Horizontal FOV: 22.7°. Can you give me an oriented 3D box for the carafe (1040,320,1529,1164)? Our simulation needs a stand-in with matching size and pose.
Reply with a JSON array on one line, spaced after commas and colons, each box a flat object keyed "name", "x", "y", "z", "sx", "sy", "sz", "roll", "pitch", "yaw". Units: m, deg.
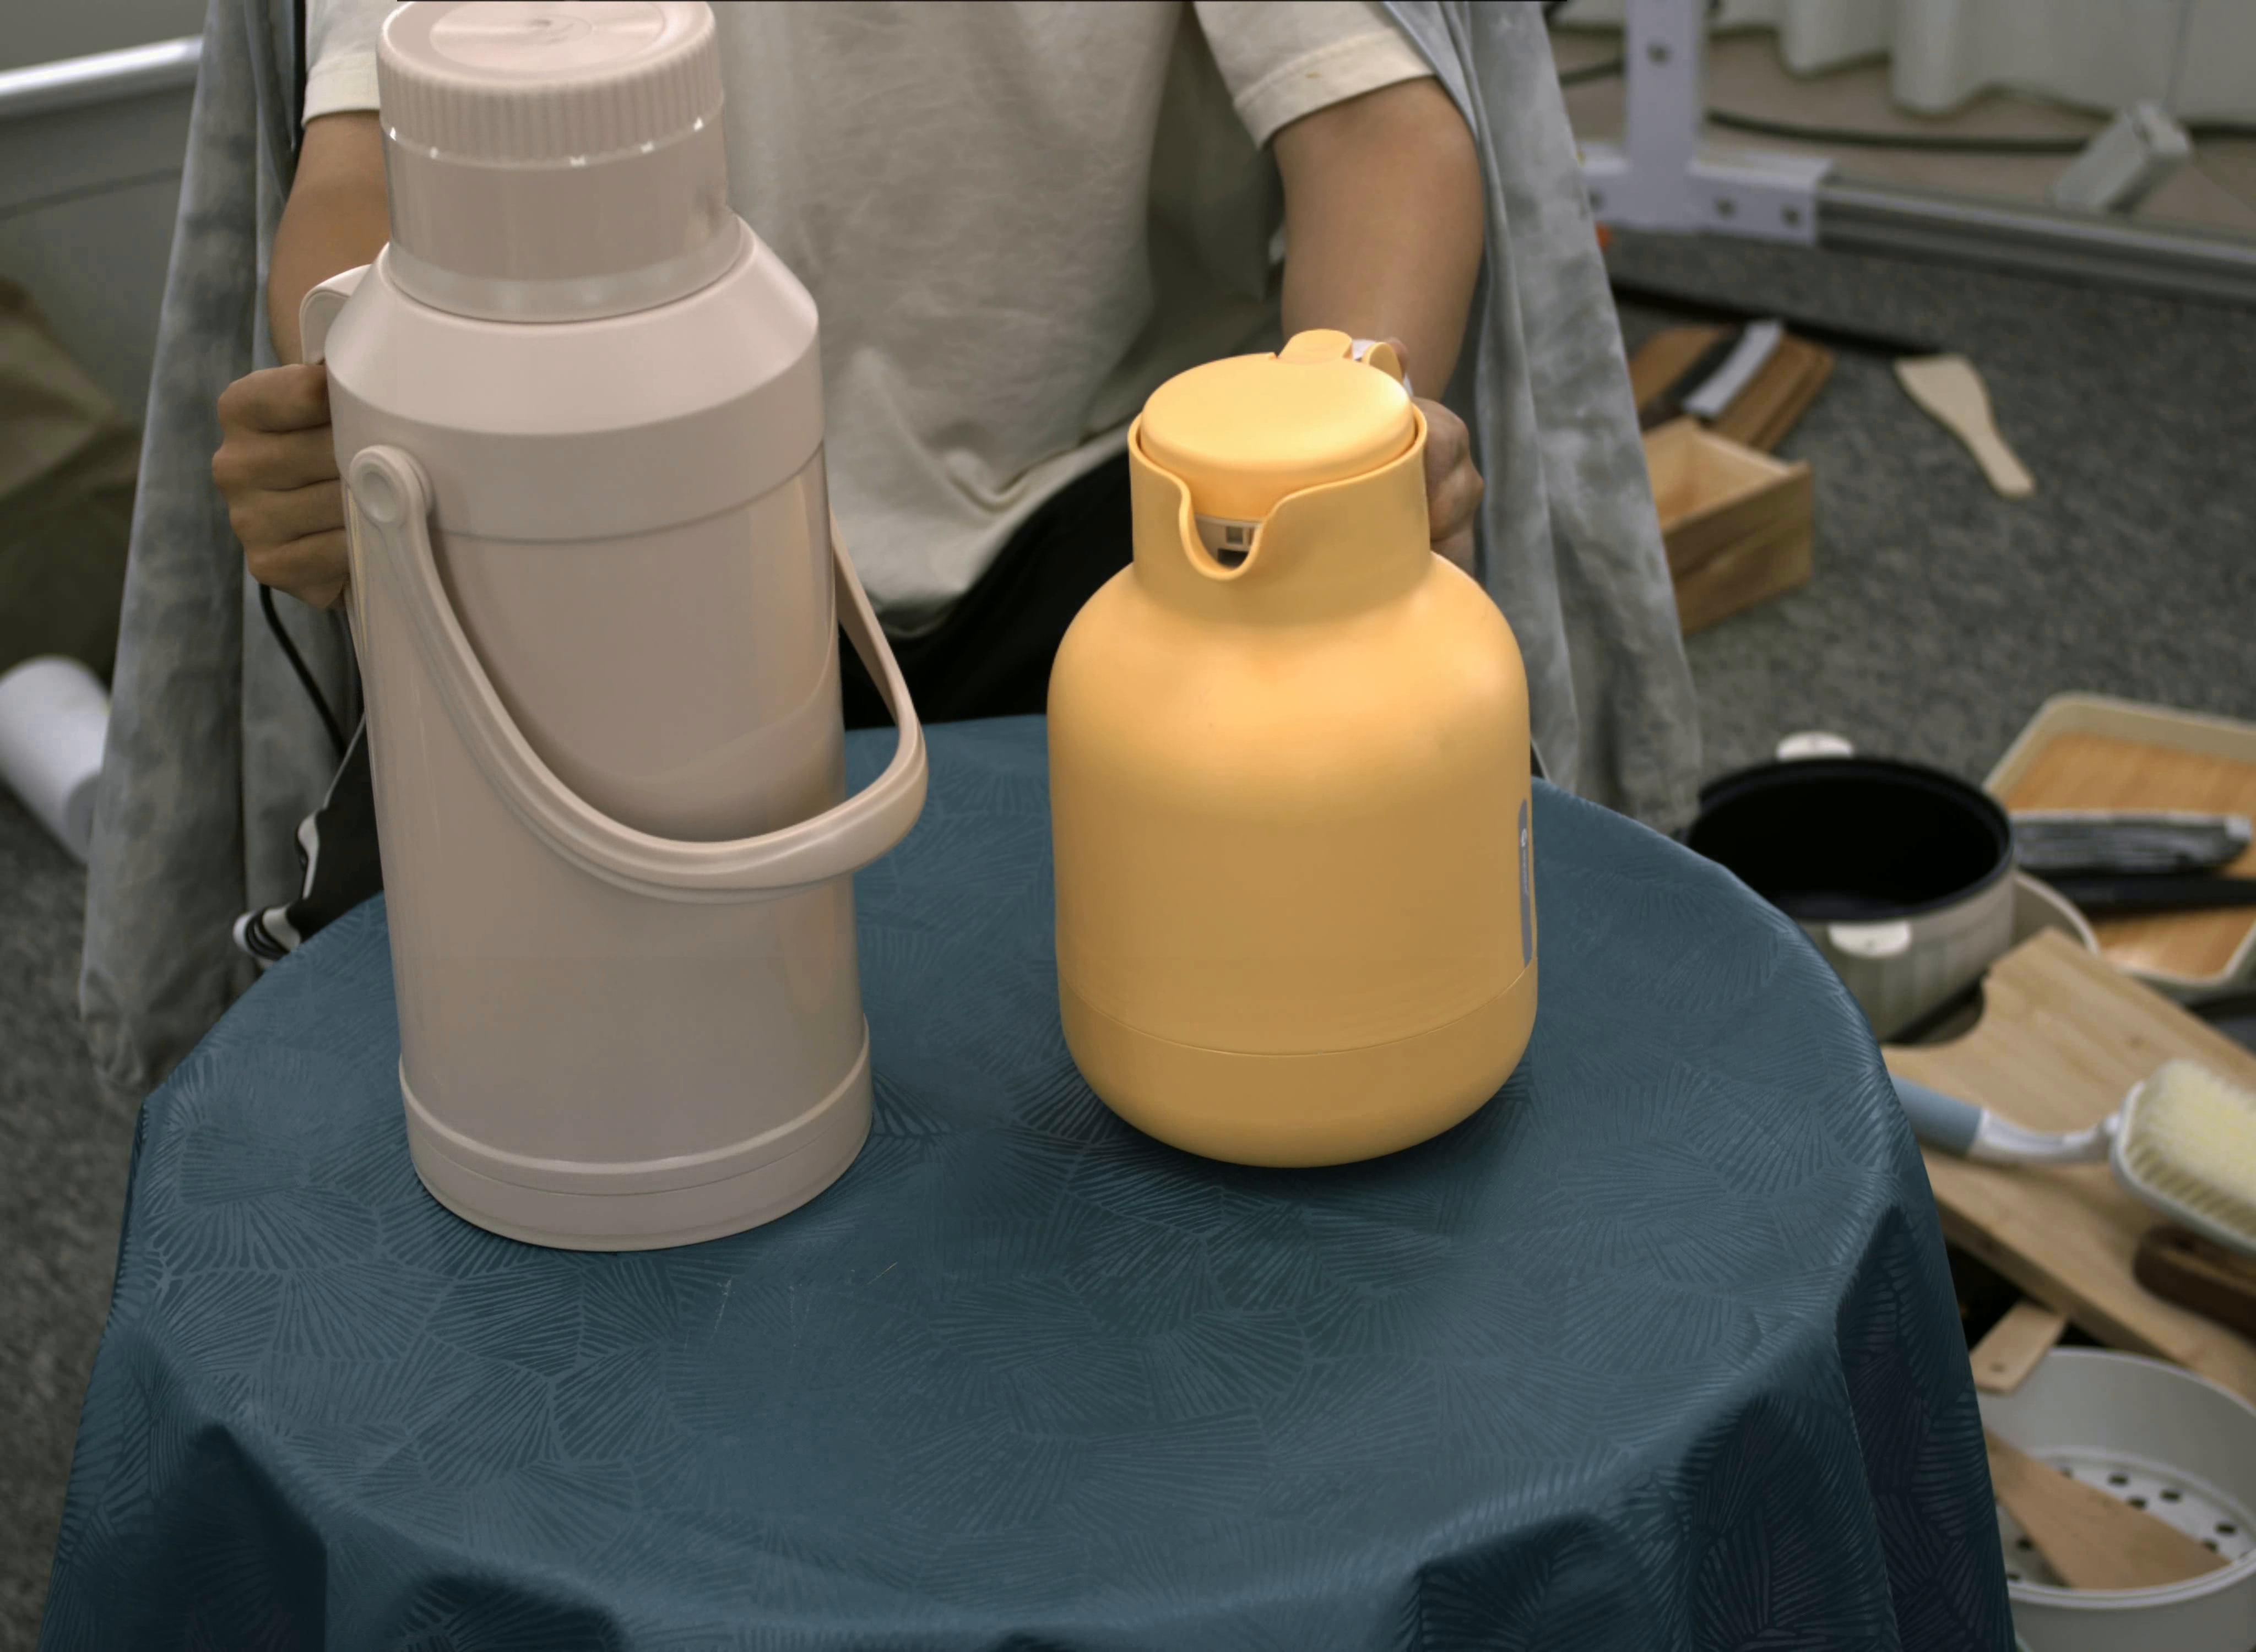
[{"name": "carafe", "x": 0.059, "y": -0.037, "z": 1.880, "sx": 0.162, "sy": 0.257, "sz": 0.206, "roll": 8, "pitch": 30, "yaw": 16}]

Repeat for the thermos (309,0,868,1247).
[{"name": "thermos", "x": -0.182, "y": -0.077, "z": 1.832, "sx": 0.206, "sy": 0.402, "sz": 0.178, "roll": 20, "pitch": 35, "yaw": 36}]
